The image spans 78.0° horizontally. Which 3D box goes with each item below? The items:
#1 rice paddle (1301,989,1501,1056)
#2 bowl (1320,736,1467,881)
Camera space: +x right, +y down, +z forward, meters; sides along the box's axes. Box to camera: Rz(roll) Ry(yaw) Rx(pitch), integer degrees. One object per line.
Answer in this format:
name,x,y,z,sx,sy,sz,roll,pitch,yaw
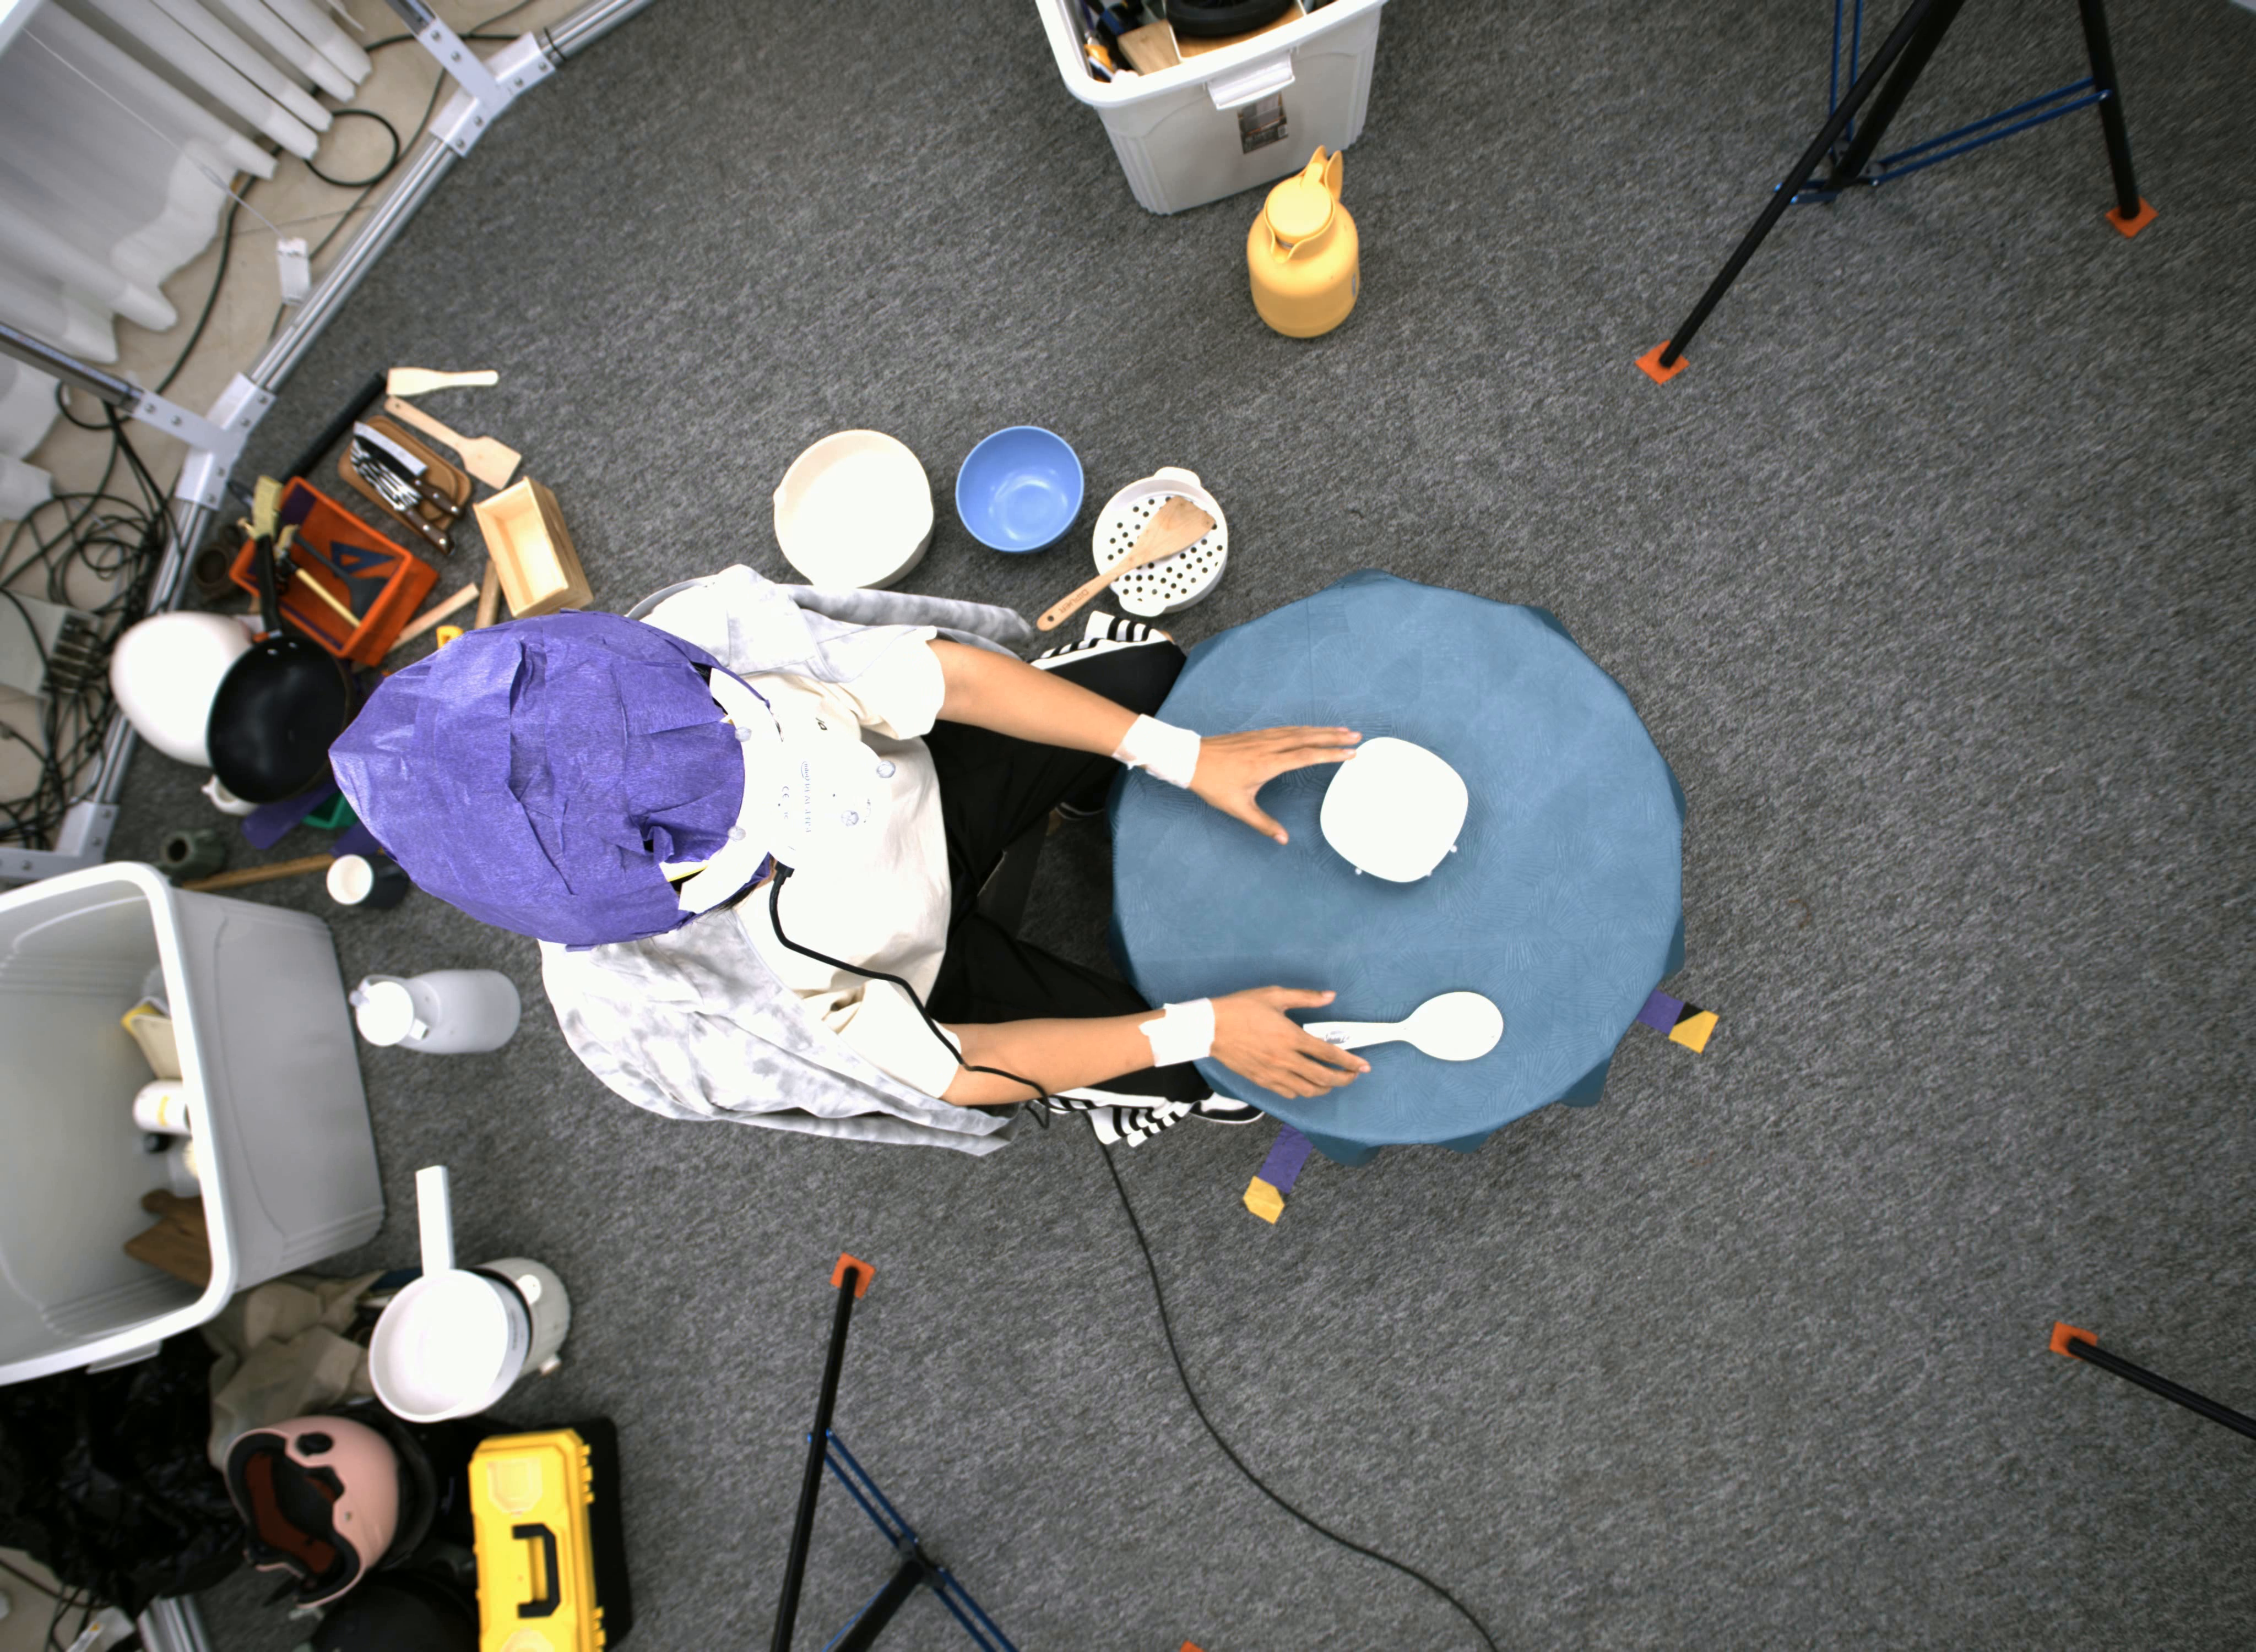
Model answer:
rice paddle,0.283,0.208,1.433,0.206,0.029,0.068,-7,86,10
bowl,0.275,-0.018,1.432,0.152,0.058,0.151,0,88,8
